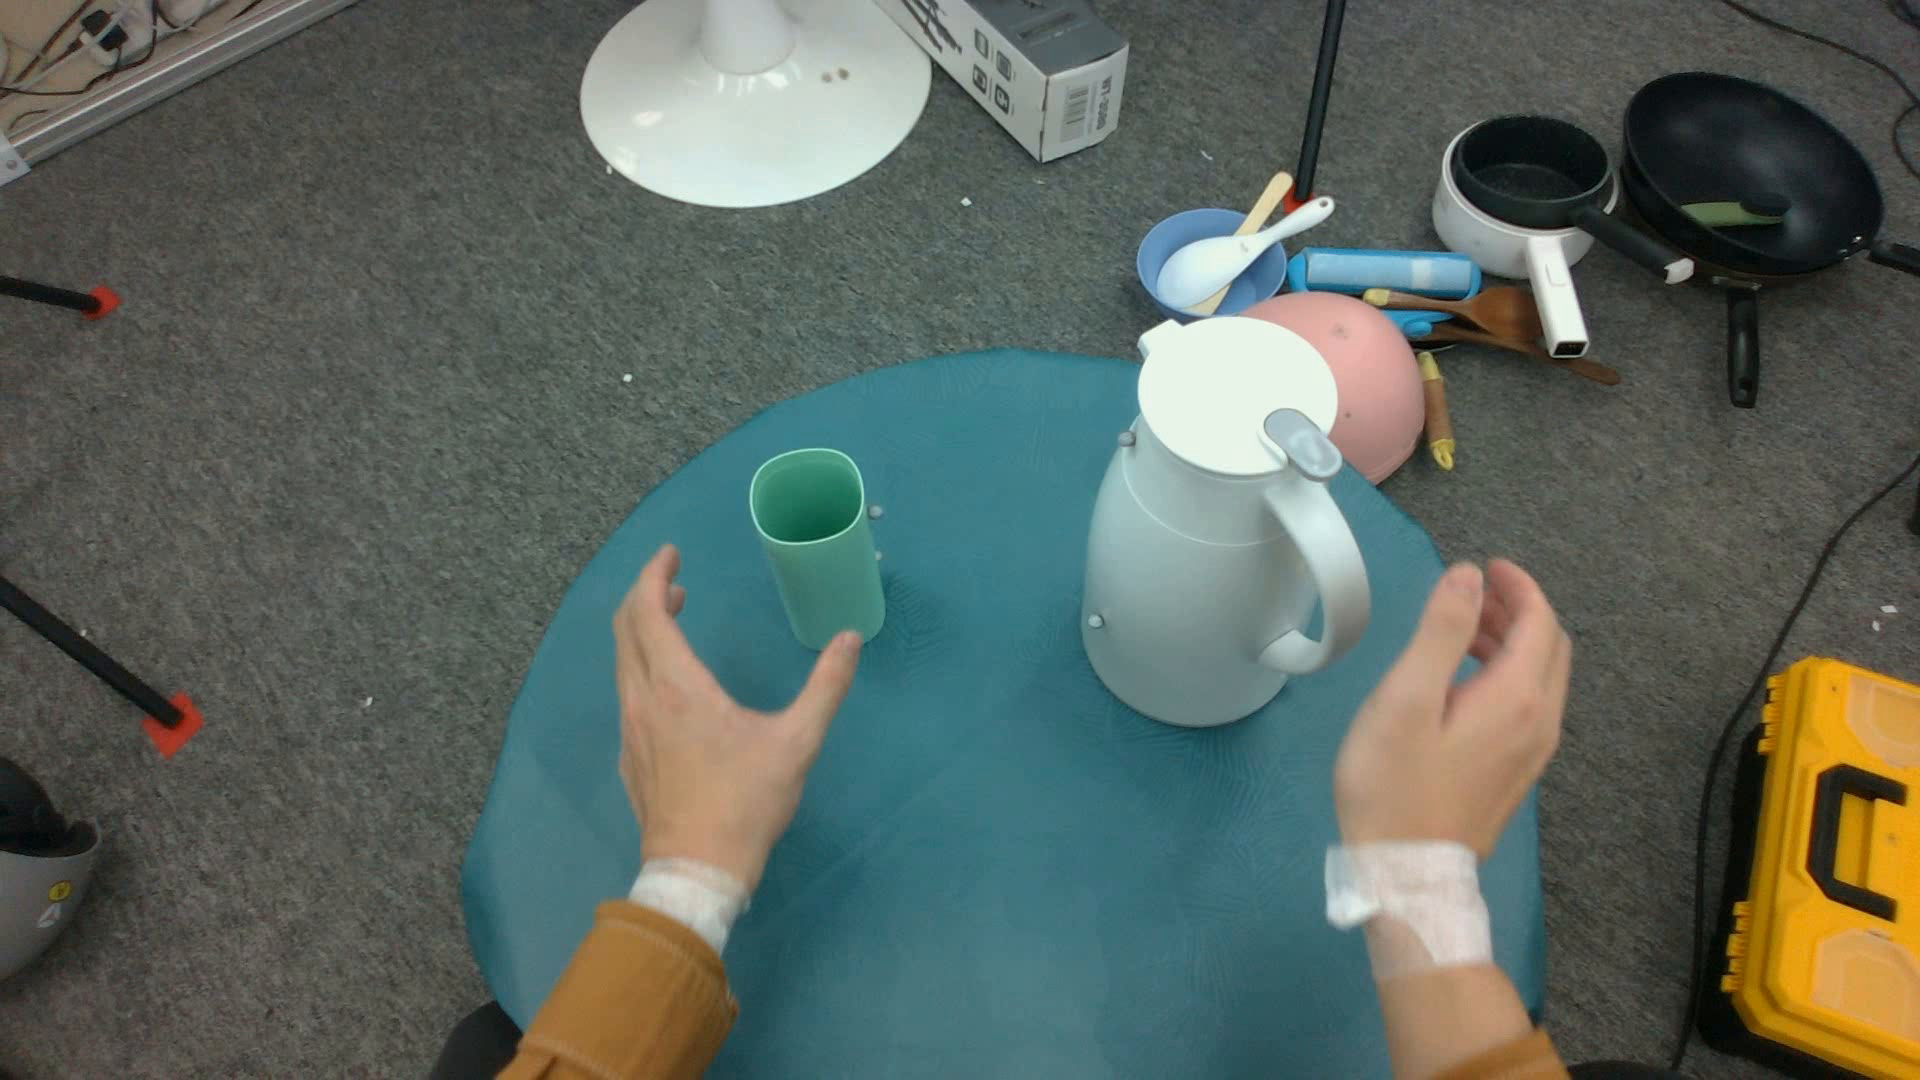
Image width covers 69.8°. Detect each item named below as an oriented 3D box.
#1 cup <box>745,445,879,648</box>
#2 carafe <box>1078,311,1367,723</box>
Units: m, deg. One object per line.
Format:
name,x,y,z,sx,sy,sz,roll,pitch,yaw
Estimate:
cup,-0.084,0.008,0.806,0.067,0.132,0.067,-1,59,2
carafe,0.144,0.001,0.729,0.133,0.247,0.168,-30,63,-15
